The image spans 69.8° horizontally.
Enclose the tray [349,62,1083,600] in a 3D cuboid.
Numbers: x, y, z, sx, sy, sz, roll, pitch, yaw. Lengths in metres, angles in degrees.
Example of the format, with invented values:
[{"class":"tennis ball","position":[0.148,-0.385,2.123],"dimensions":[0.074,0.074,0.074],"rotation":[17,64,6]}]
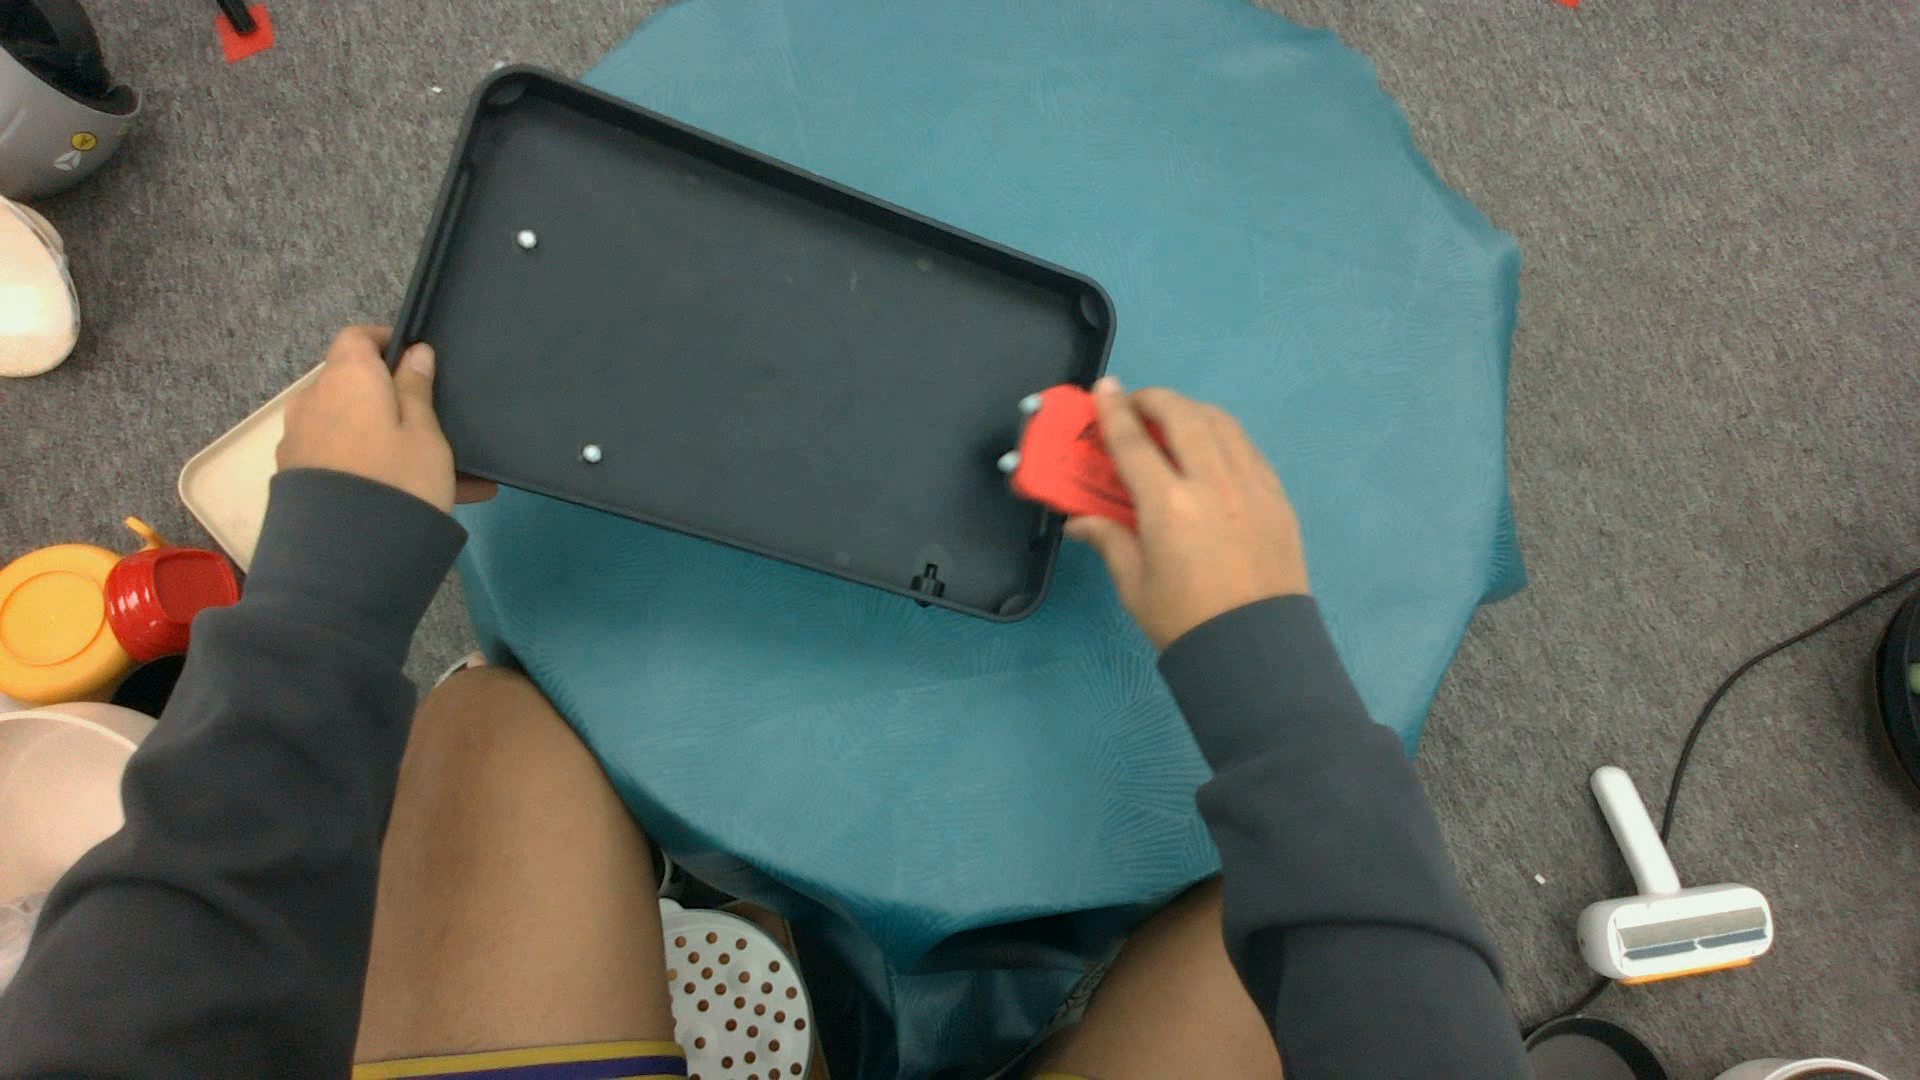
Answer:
[{"class":"tray","position":[-0.105,-0.092,0.660],"dimensions":[0.318,0.037,0.184],"rotation":[15,82,-16]}]

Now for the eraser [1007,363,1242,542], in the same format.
[{"class":"eraser","position":[0.080,-0.042,0.669],"dimensions":[0.108,0.023,0.059],"rotation":[22,92,-19]}]
